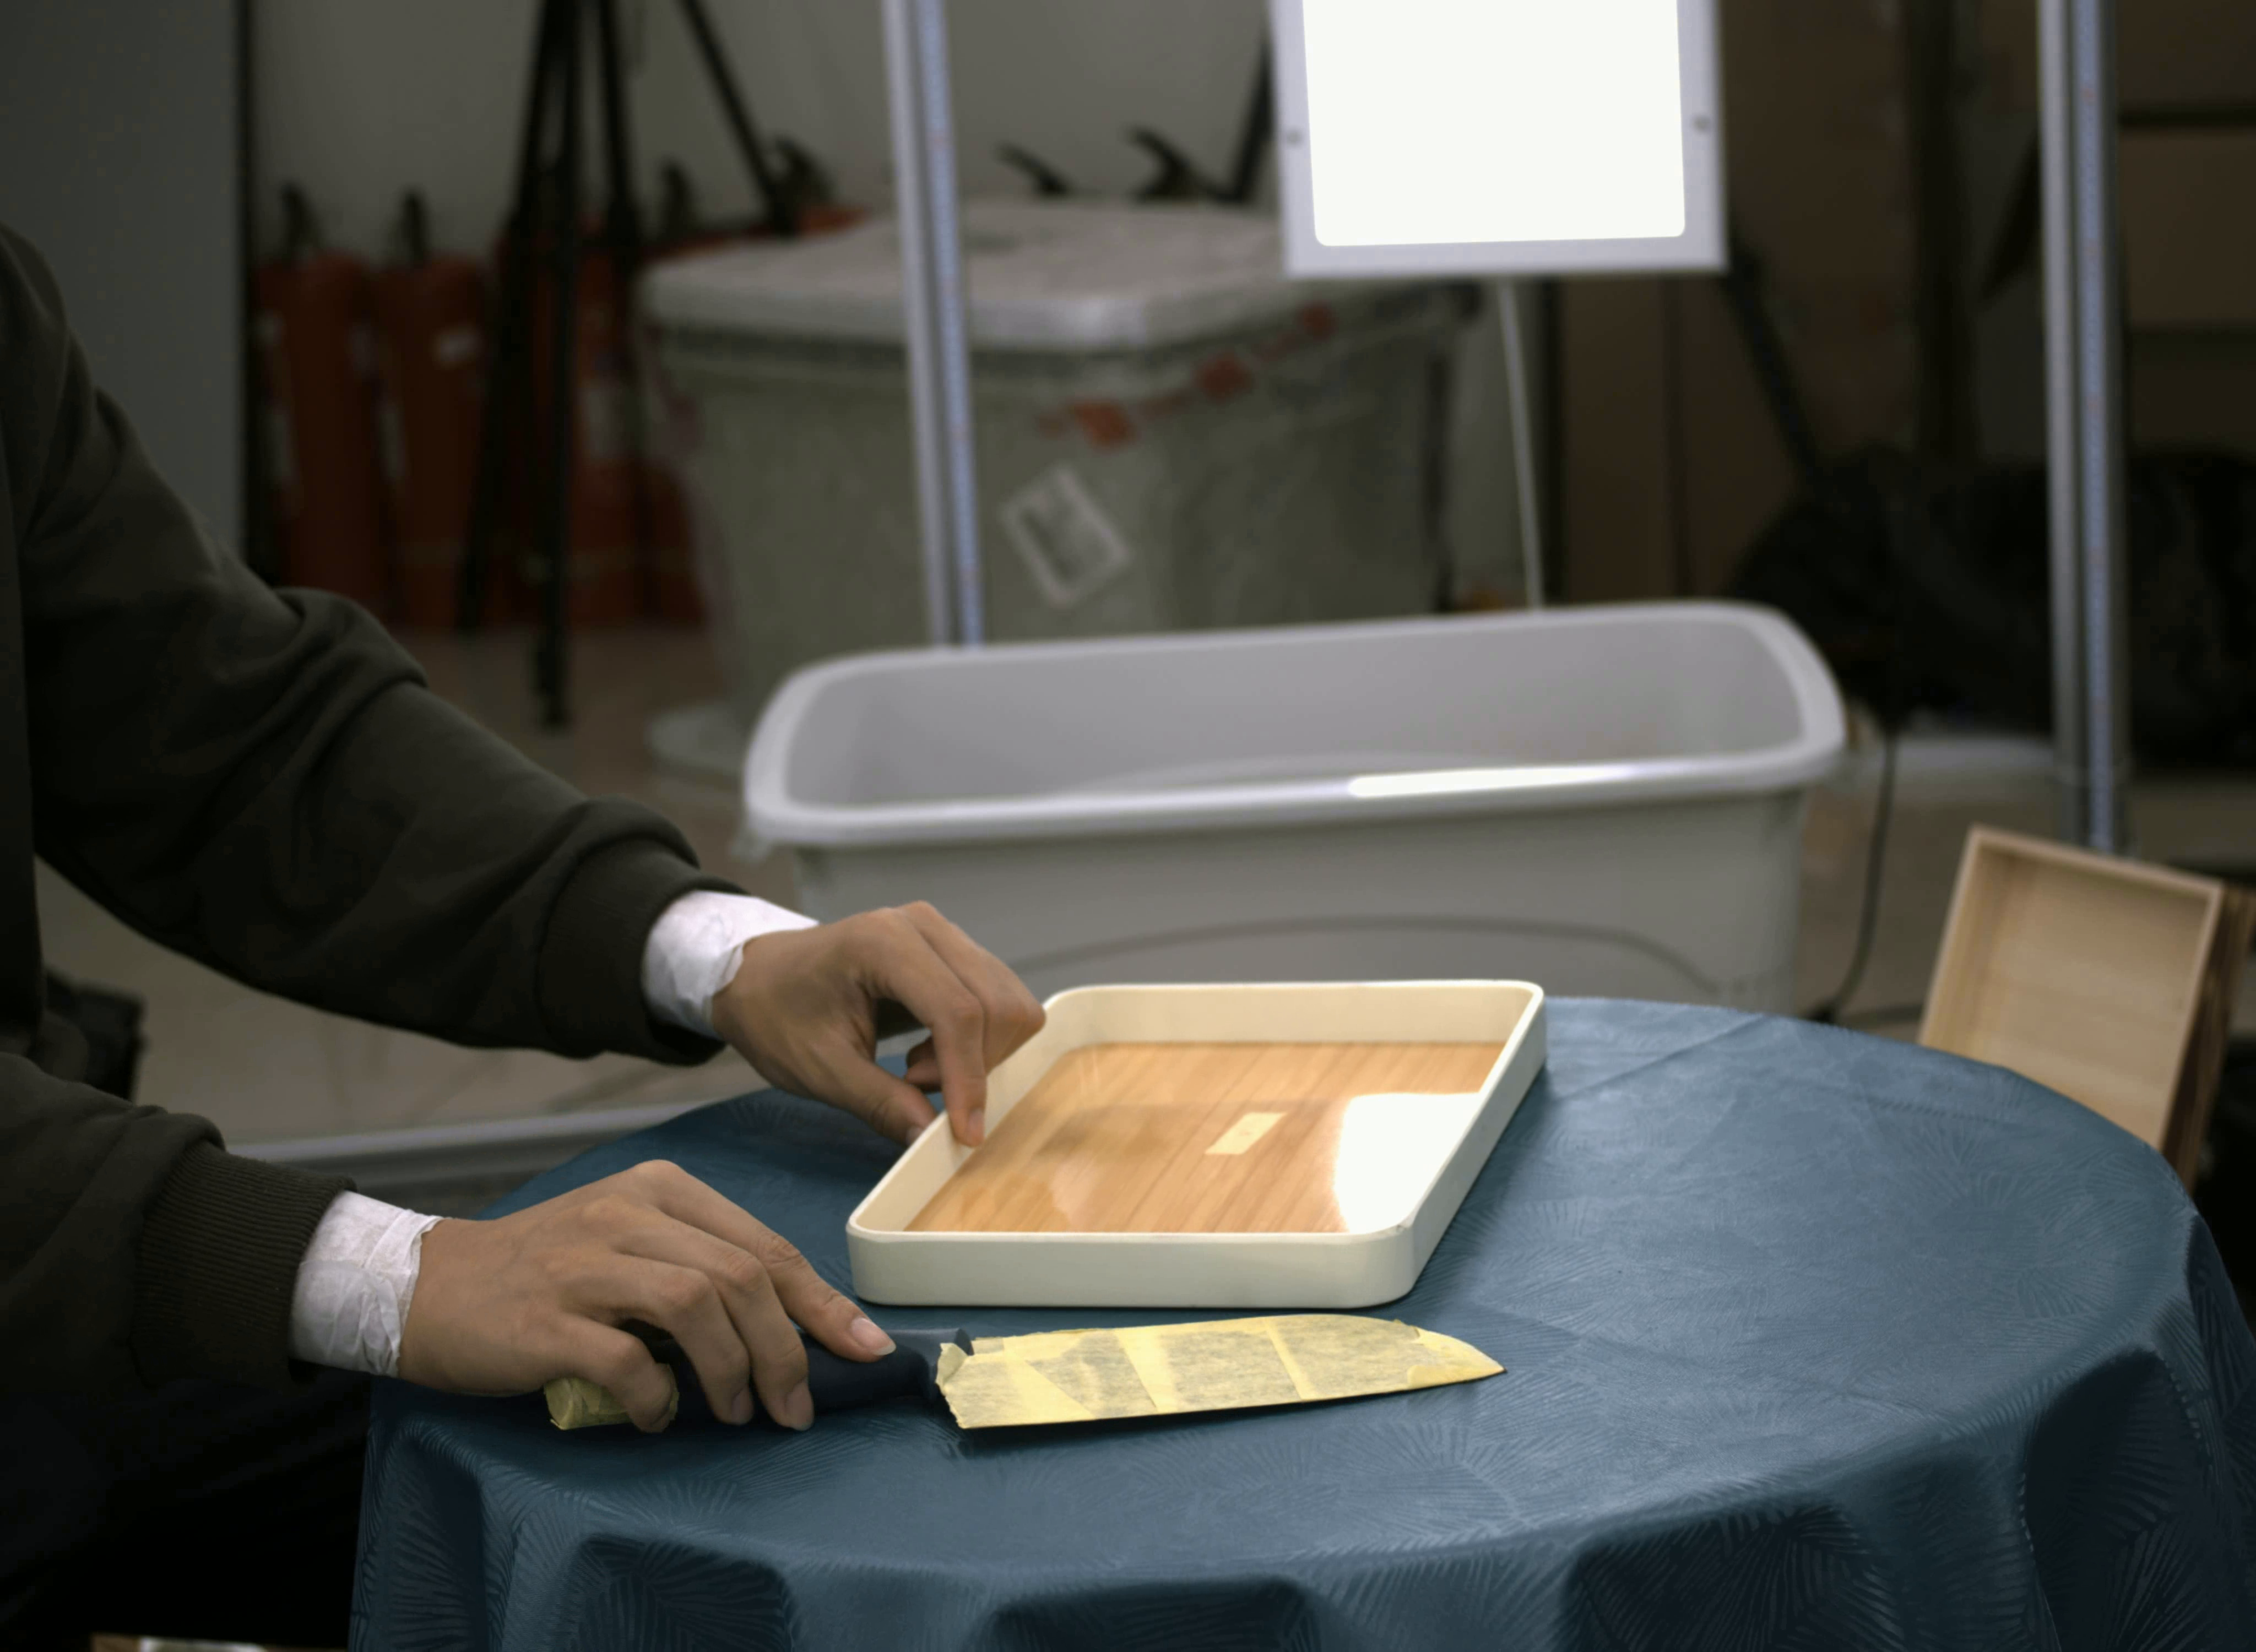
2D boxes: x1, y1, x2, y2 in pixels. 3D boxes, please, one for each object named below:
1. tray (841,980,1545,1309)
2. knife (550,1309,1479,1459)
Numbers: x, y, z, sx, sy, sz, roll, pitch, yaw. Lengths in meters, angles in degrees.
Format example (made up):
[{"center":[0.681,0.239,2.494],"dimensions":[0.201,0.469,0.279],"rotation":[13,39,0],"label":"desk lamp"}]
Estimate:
[{"center":[0.030,0.108,1.914],"dimensions":[0.193,0.027,0.296],"rotation":[-2,14,16],"label":"tray"},{"center":[-0.033,0.172,1.698],"dimensions":[0.288,0.027,0.081],"rotation":[-5,14,-3],"label":"knife"}]
